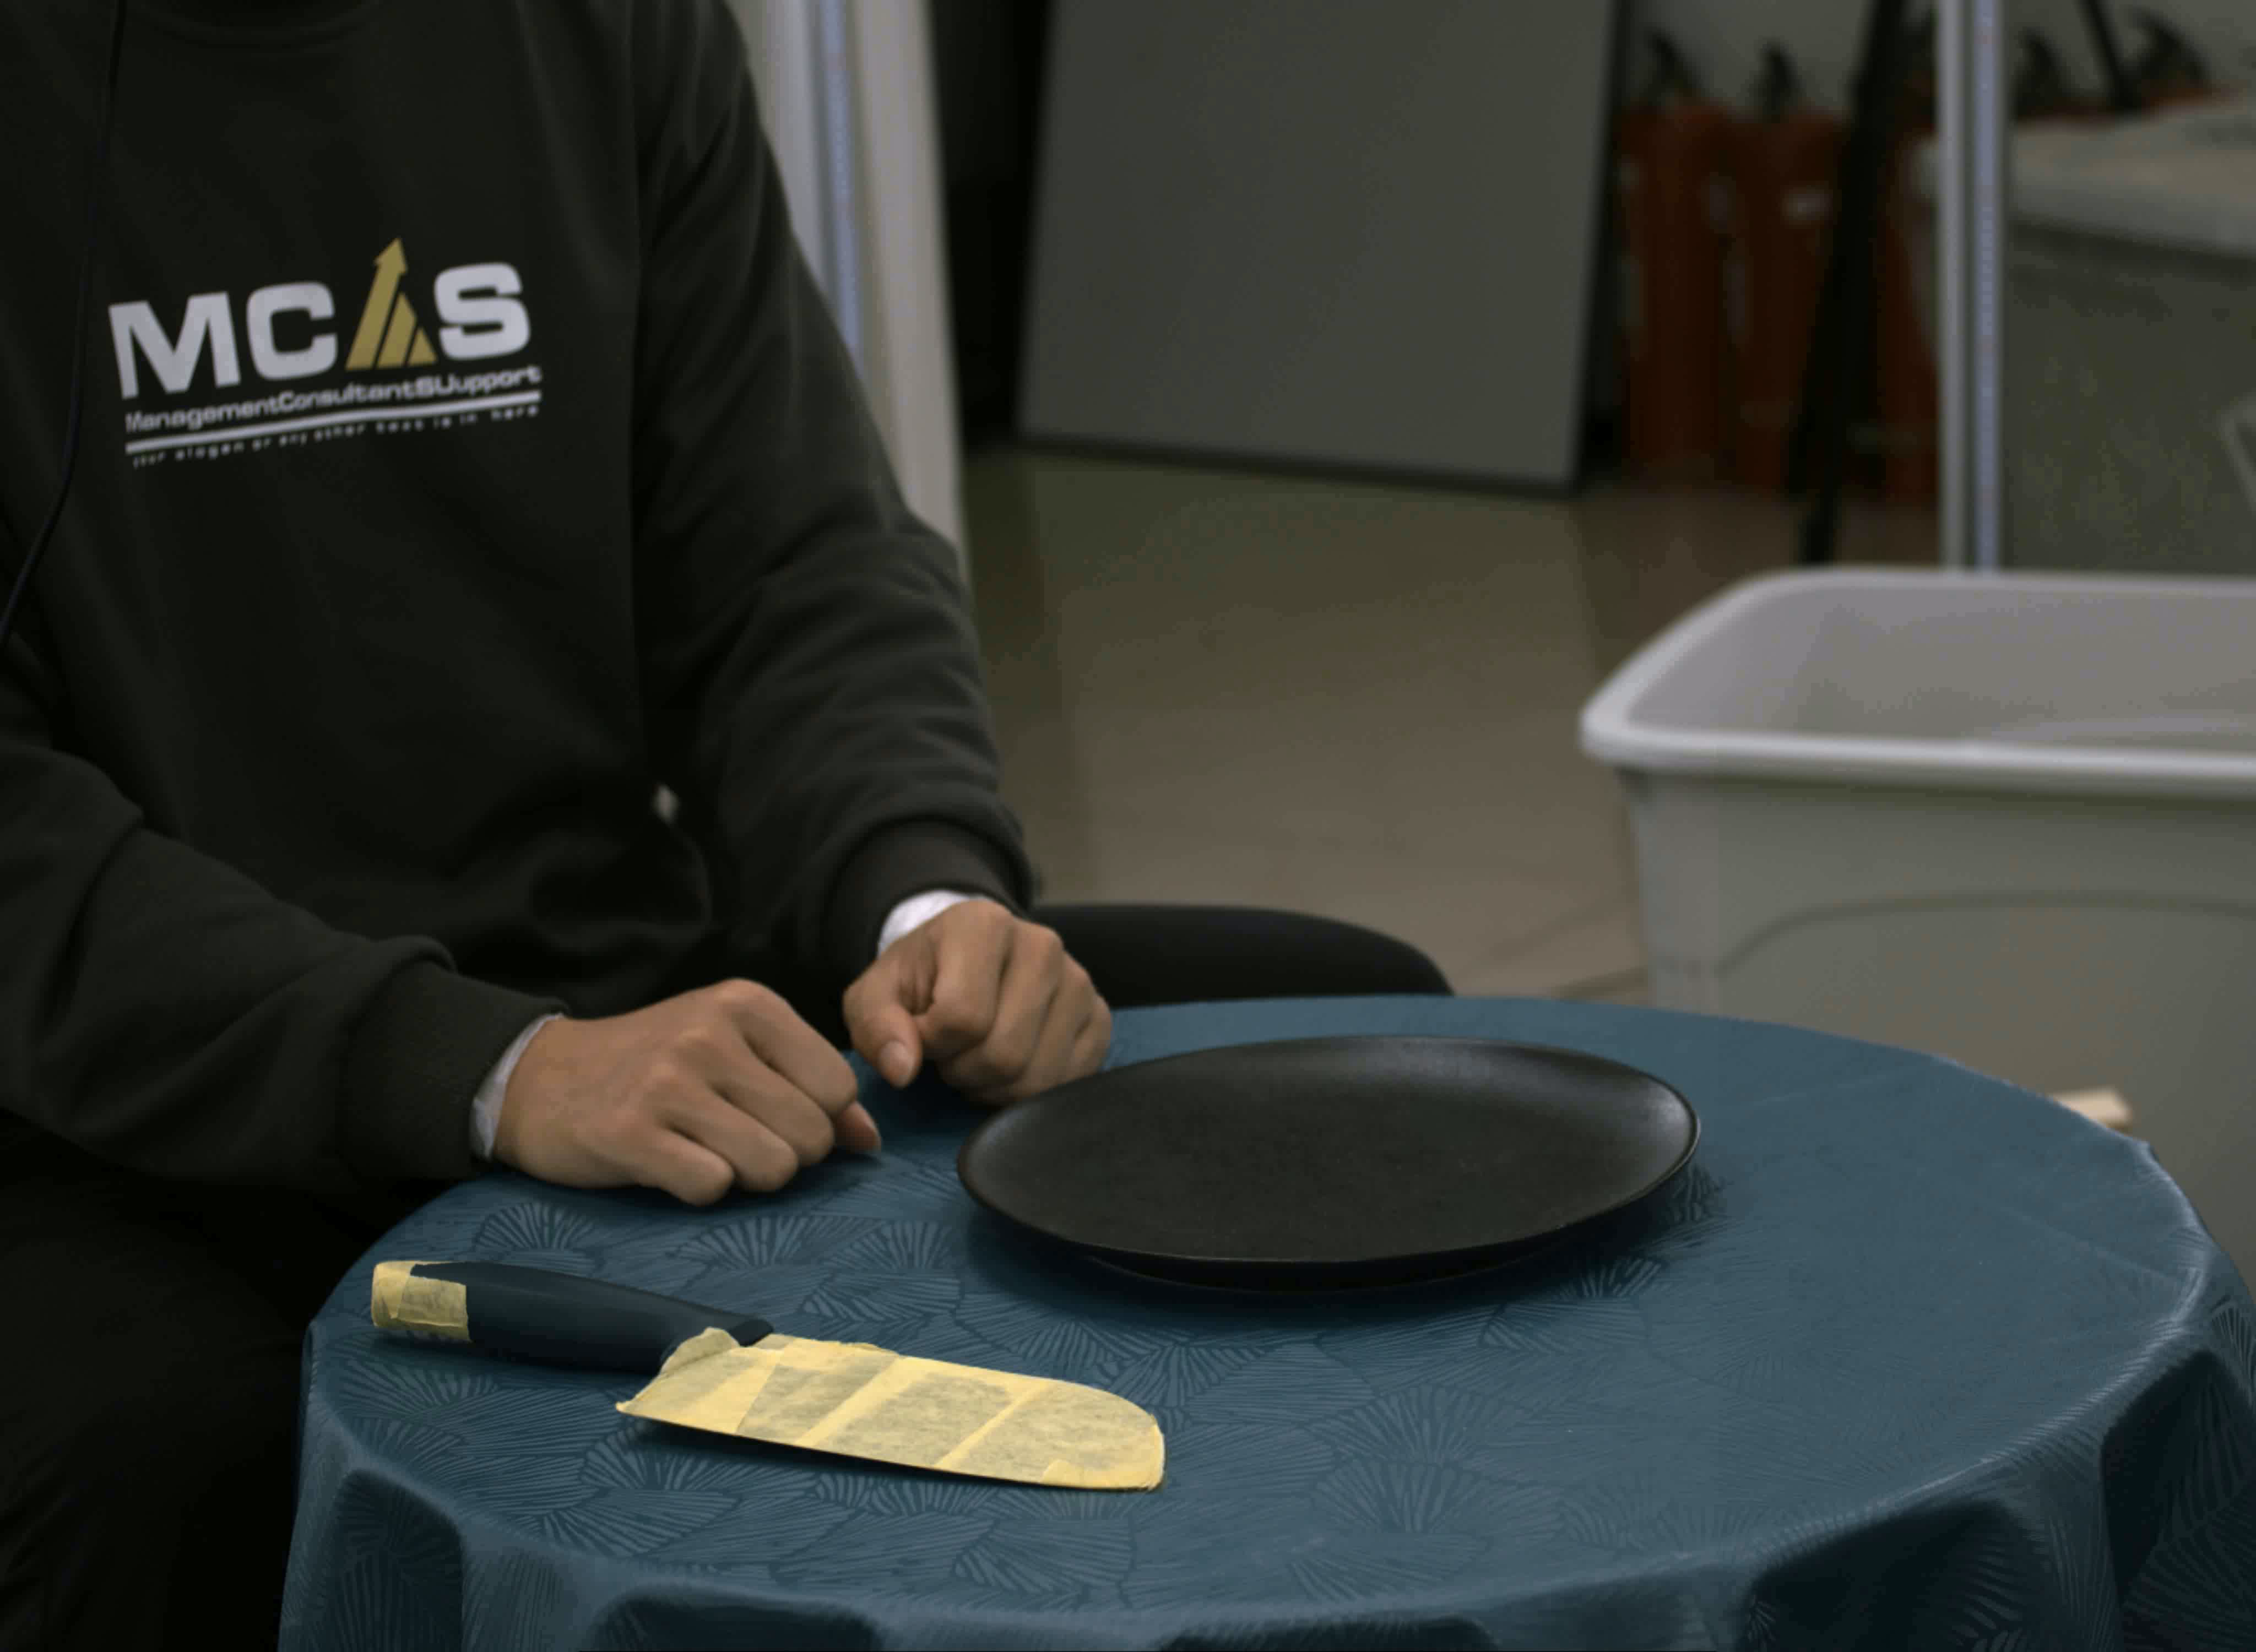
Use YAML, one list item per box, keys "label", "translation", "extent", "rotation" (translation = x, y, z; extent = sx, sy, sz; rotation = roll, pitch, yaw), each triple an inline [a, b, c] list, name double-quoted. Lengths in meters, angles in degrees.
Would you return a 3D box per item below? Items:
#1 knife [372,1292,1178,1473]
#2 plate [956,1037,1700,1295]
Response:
- label: "knife"
  translation: [-0.112, 0.166, 1.592]
  extent: [0.290, 0.027, 0.080]
  rotation: [5, 15, 30]
- label: "plate"
  translation: [0.065, 0.112, 1.743]
  extent: [0.241, 0.024, 0.245]
  rotation: [-4, 13, 0]
